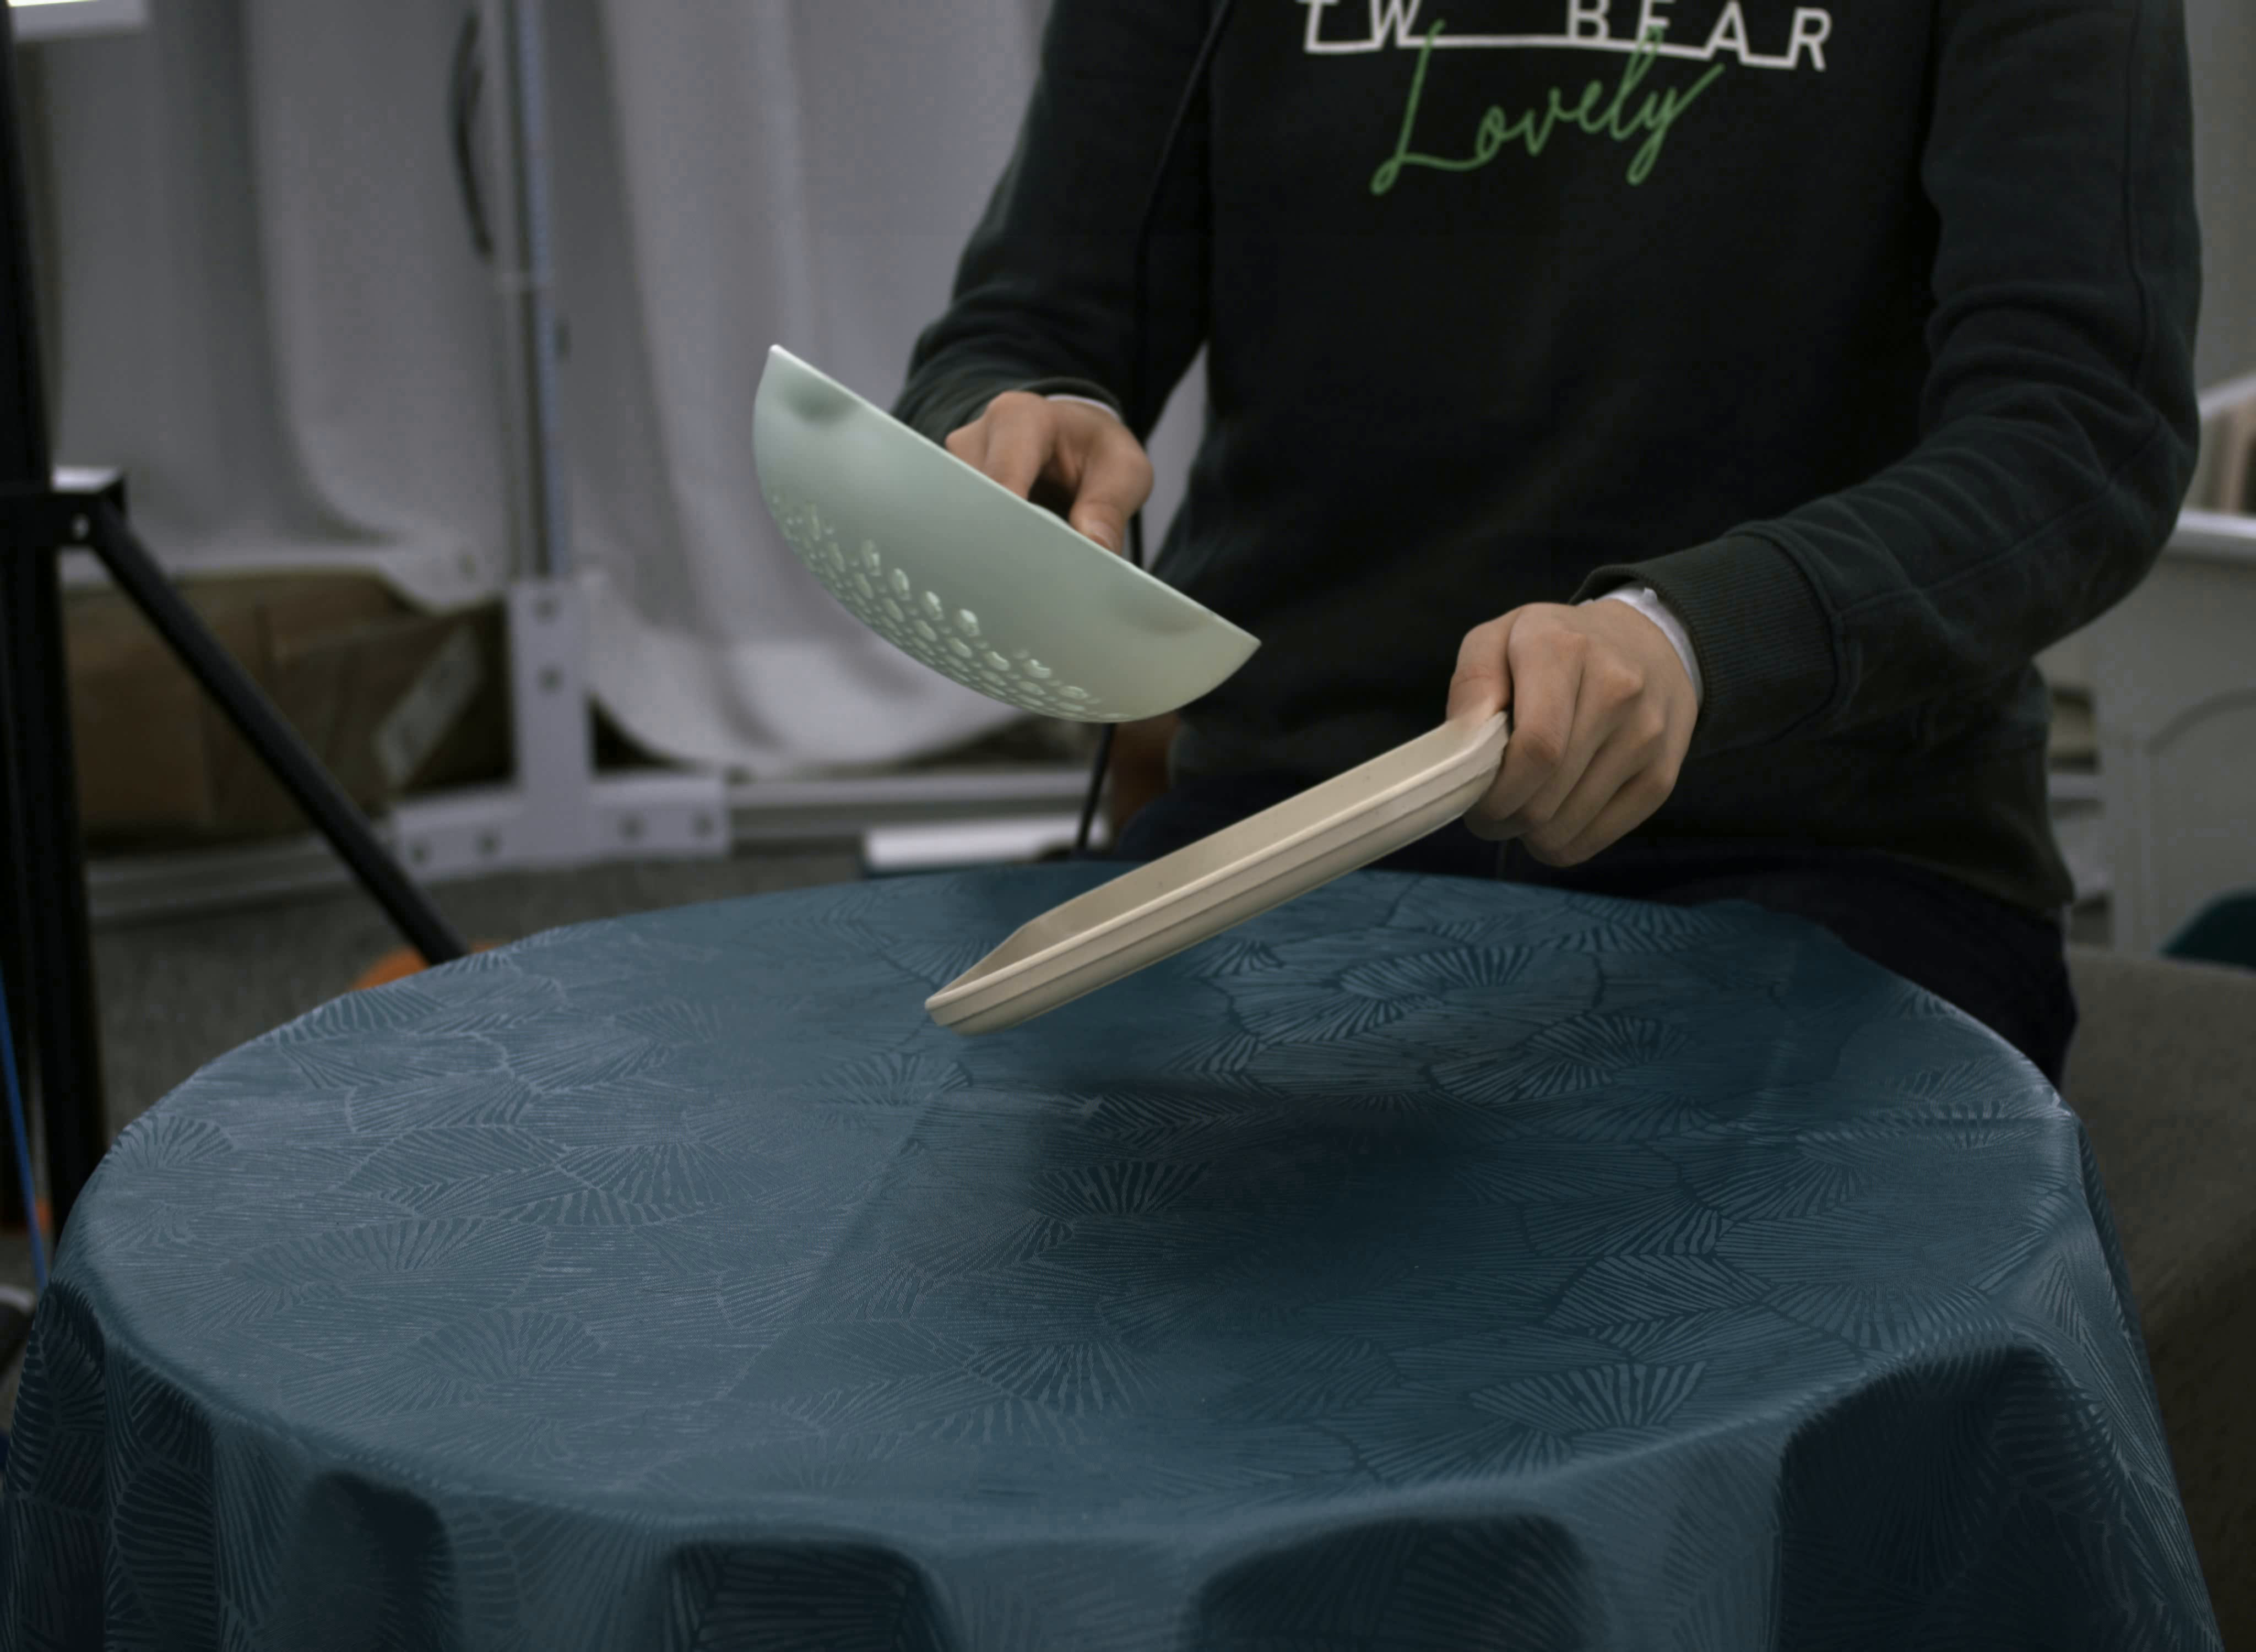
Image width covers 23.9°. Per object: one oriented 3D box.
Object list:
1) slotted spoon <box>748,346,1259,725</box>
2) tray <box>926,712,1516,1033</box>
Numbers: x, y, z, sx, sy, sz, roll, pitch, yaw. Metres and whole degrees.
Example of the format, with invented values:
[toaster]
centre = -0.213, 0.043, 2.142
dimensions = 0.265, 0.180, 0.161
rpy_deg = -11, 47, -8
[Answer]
[slotted spoon]
centre = -0.034, -0.084, 1.665
dimensions = 0.170, 0.075, 0.356
rpy_deg = 32, 9, 4
[tray]
centre = 0.033, 0.013, 1.538
dimensions = 0.172, 0.017, 0.238
rpy_deg = -25, 1, 9
